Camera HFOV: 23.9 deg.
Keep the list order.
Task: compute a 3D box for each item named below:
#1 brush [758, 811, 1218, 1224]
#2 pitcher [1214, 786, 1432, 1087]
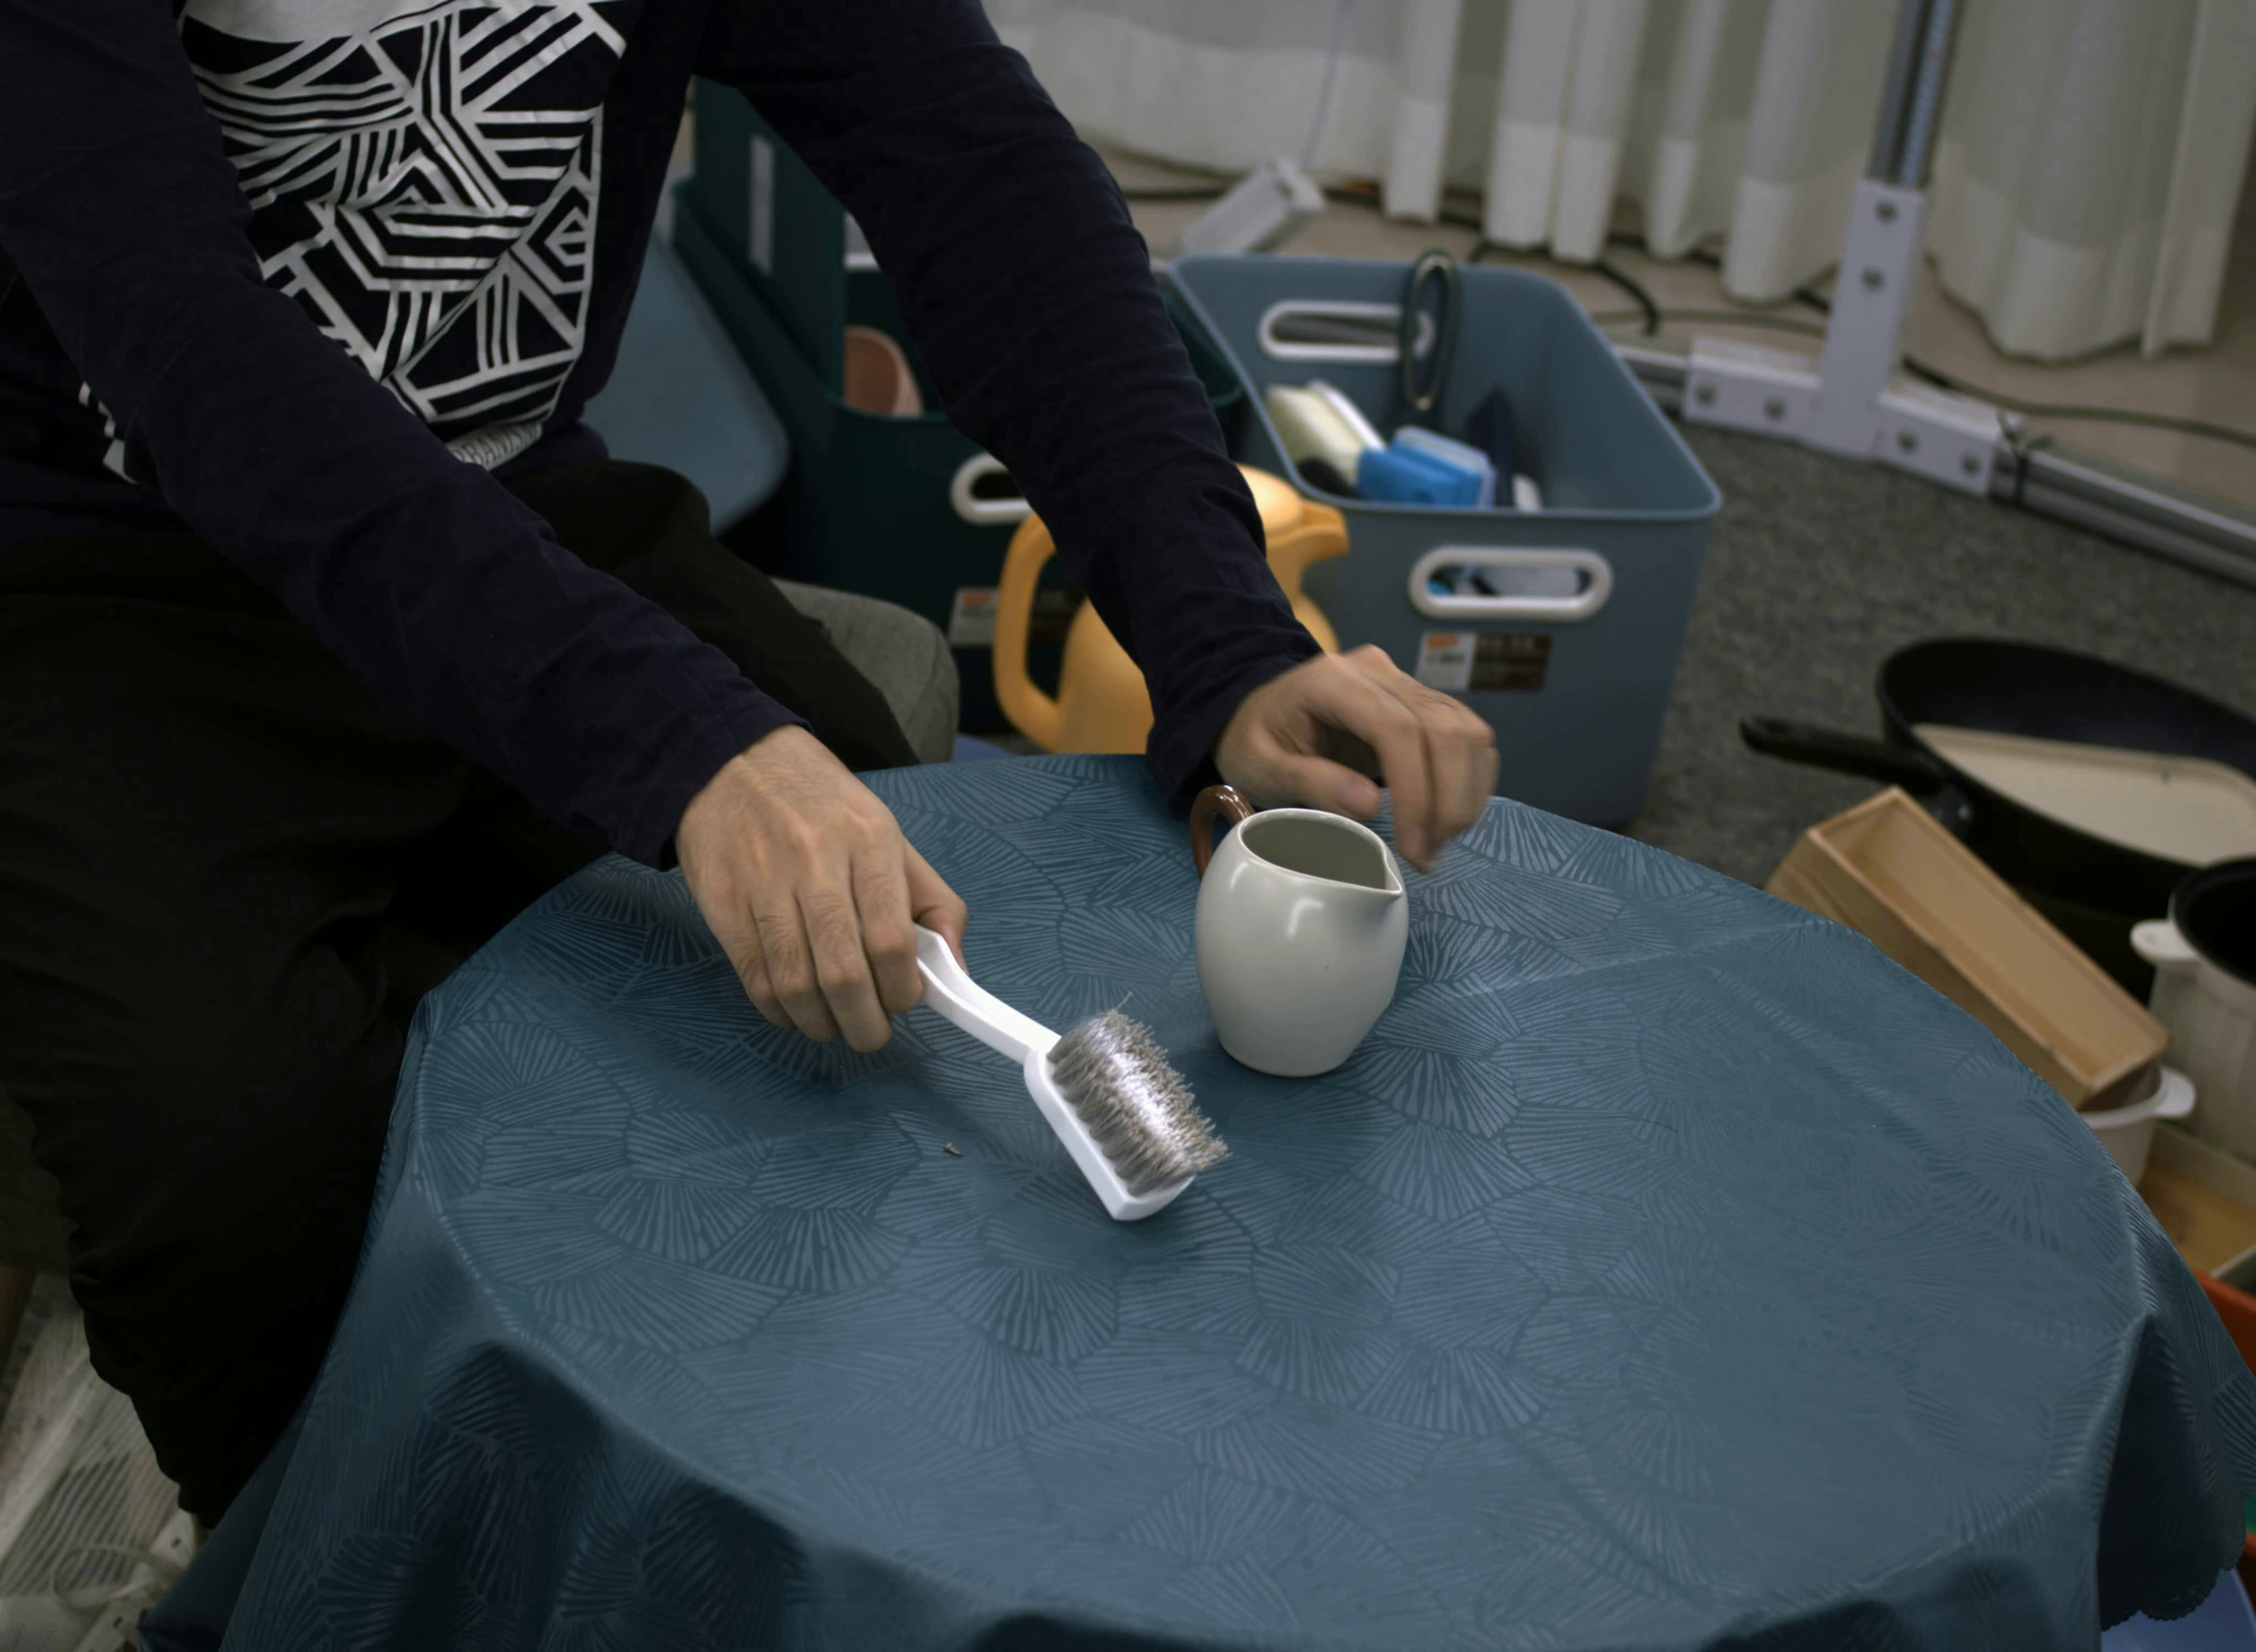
[{"bbox_3d":[-0.053,0.051,1.841,0.034,0.050,0.246,-20,47,-31],"label":"brush"},{"bbox_3d":[0.063,0.040,1.886,0.075,0.087,0.120,-6,32,-33],"label":"pitcher"}]
